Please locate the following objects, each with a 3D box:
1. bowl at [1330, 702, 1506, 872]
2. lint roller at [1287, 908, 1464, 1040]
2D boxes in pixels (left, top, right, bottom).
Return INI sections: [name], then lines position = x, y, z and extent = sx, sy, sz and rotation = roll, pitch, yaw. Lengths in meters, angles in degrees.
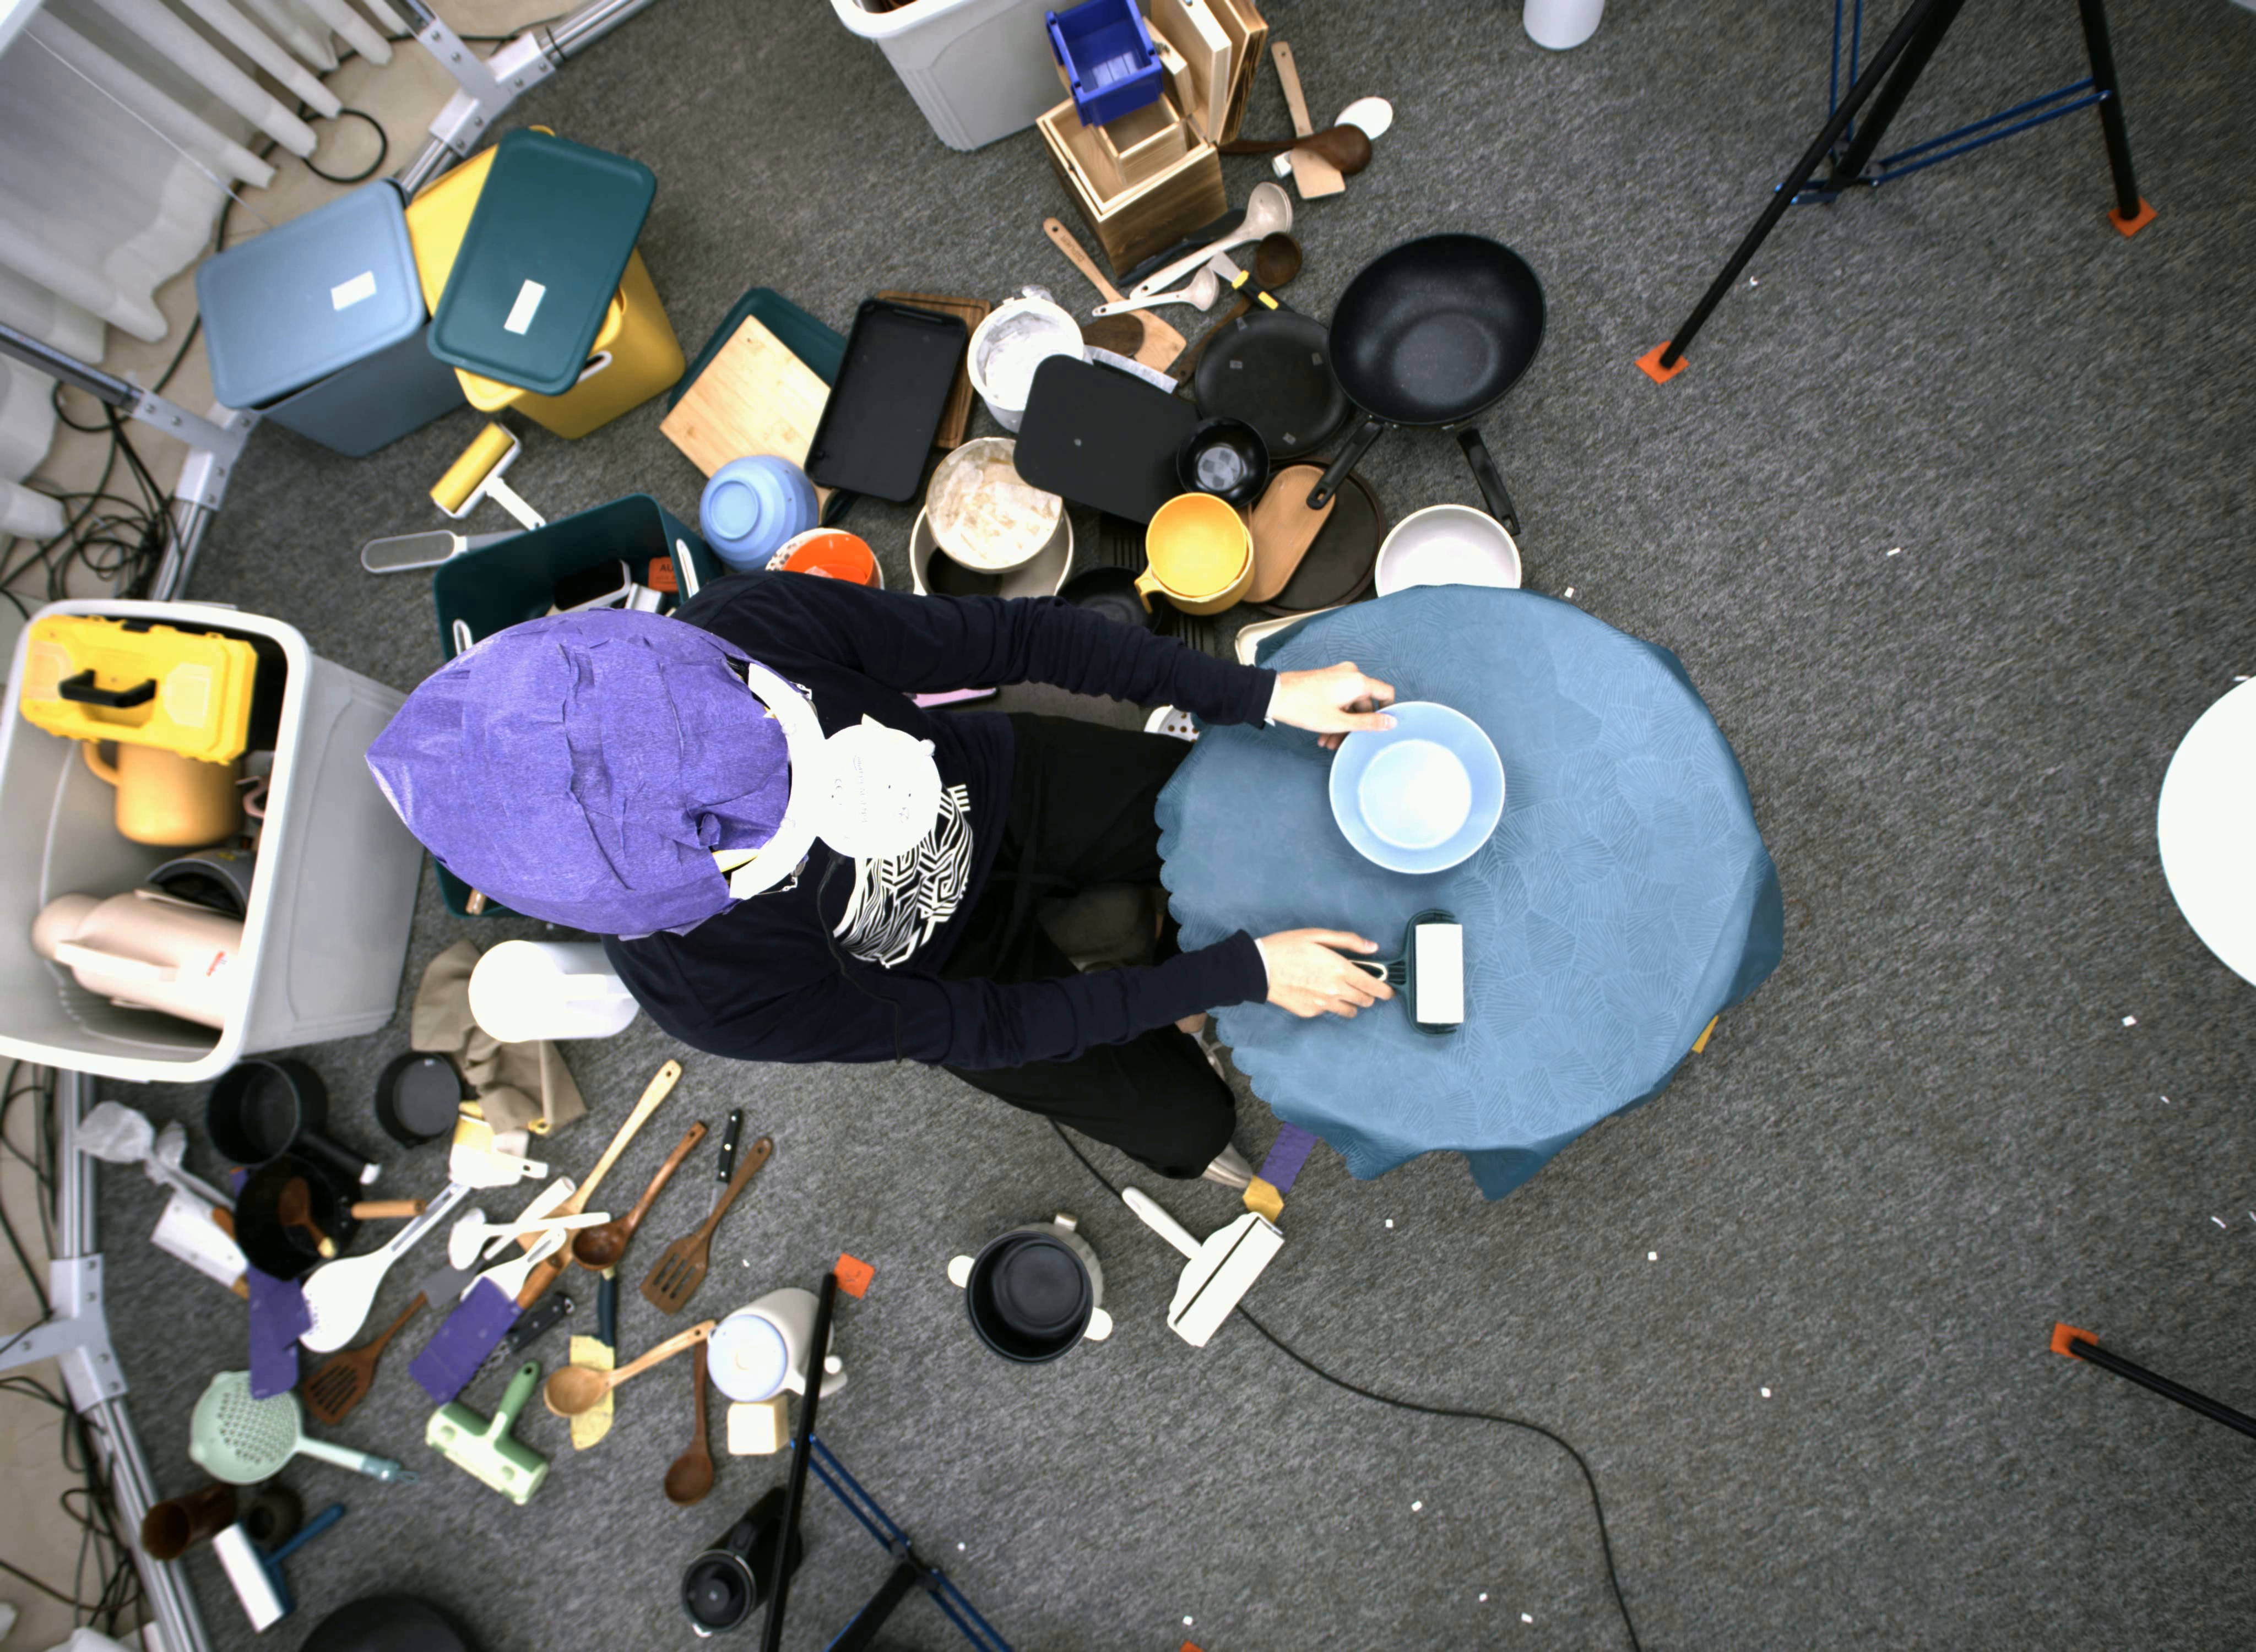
[bowl]
position = 0.299, -0.039, 1.424
extent = 0.177, 0.070, 0.175
rotation = -1, 86, 11
[lint roller]
position = 0.255, 0.152, 1.431
extent = 0.181, 0.048, 0.134
rotation = -1, 87, 8
